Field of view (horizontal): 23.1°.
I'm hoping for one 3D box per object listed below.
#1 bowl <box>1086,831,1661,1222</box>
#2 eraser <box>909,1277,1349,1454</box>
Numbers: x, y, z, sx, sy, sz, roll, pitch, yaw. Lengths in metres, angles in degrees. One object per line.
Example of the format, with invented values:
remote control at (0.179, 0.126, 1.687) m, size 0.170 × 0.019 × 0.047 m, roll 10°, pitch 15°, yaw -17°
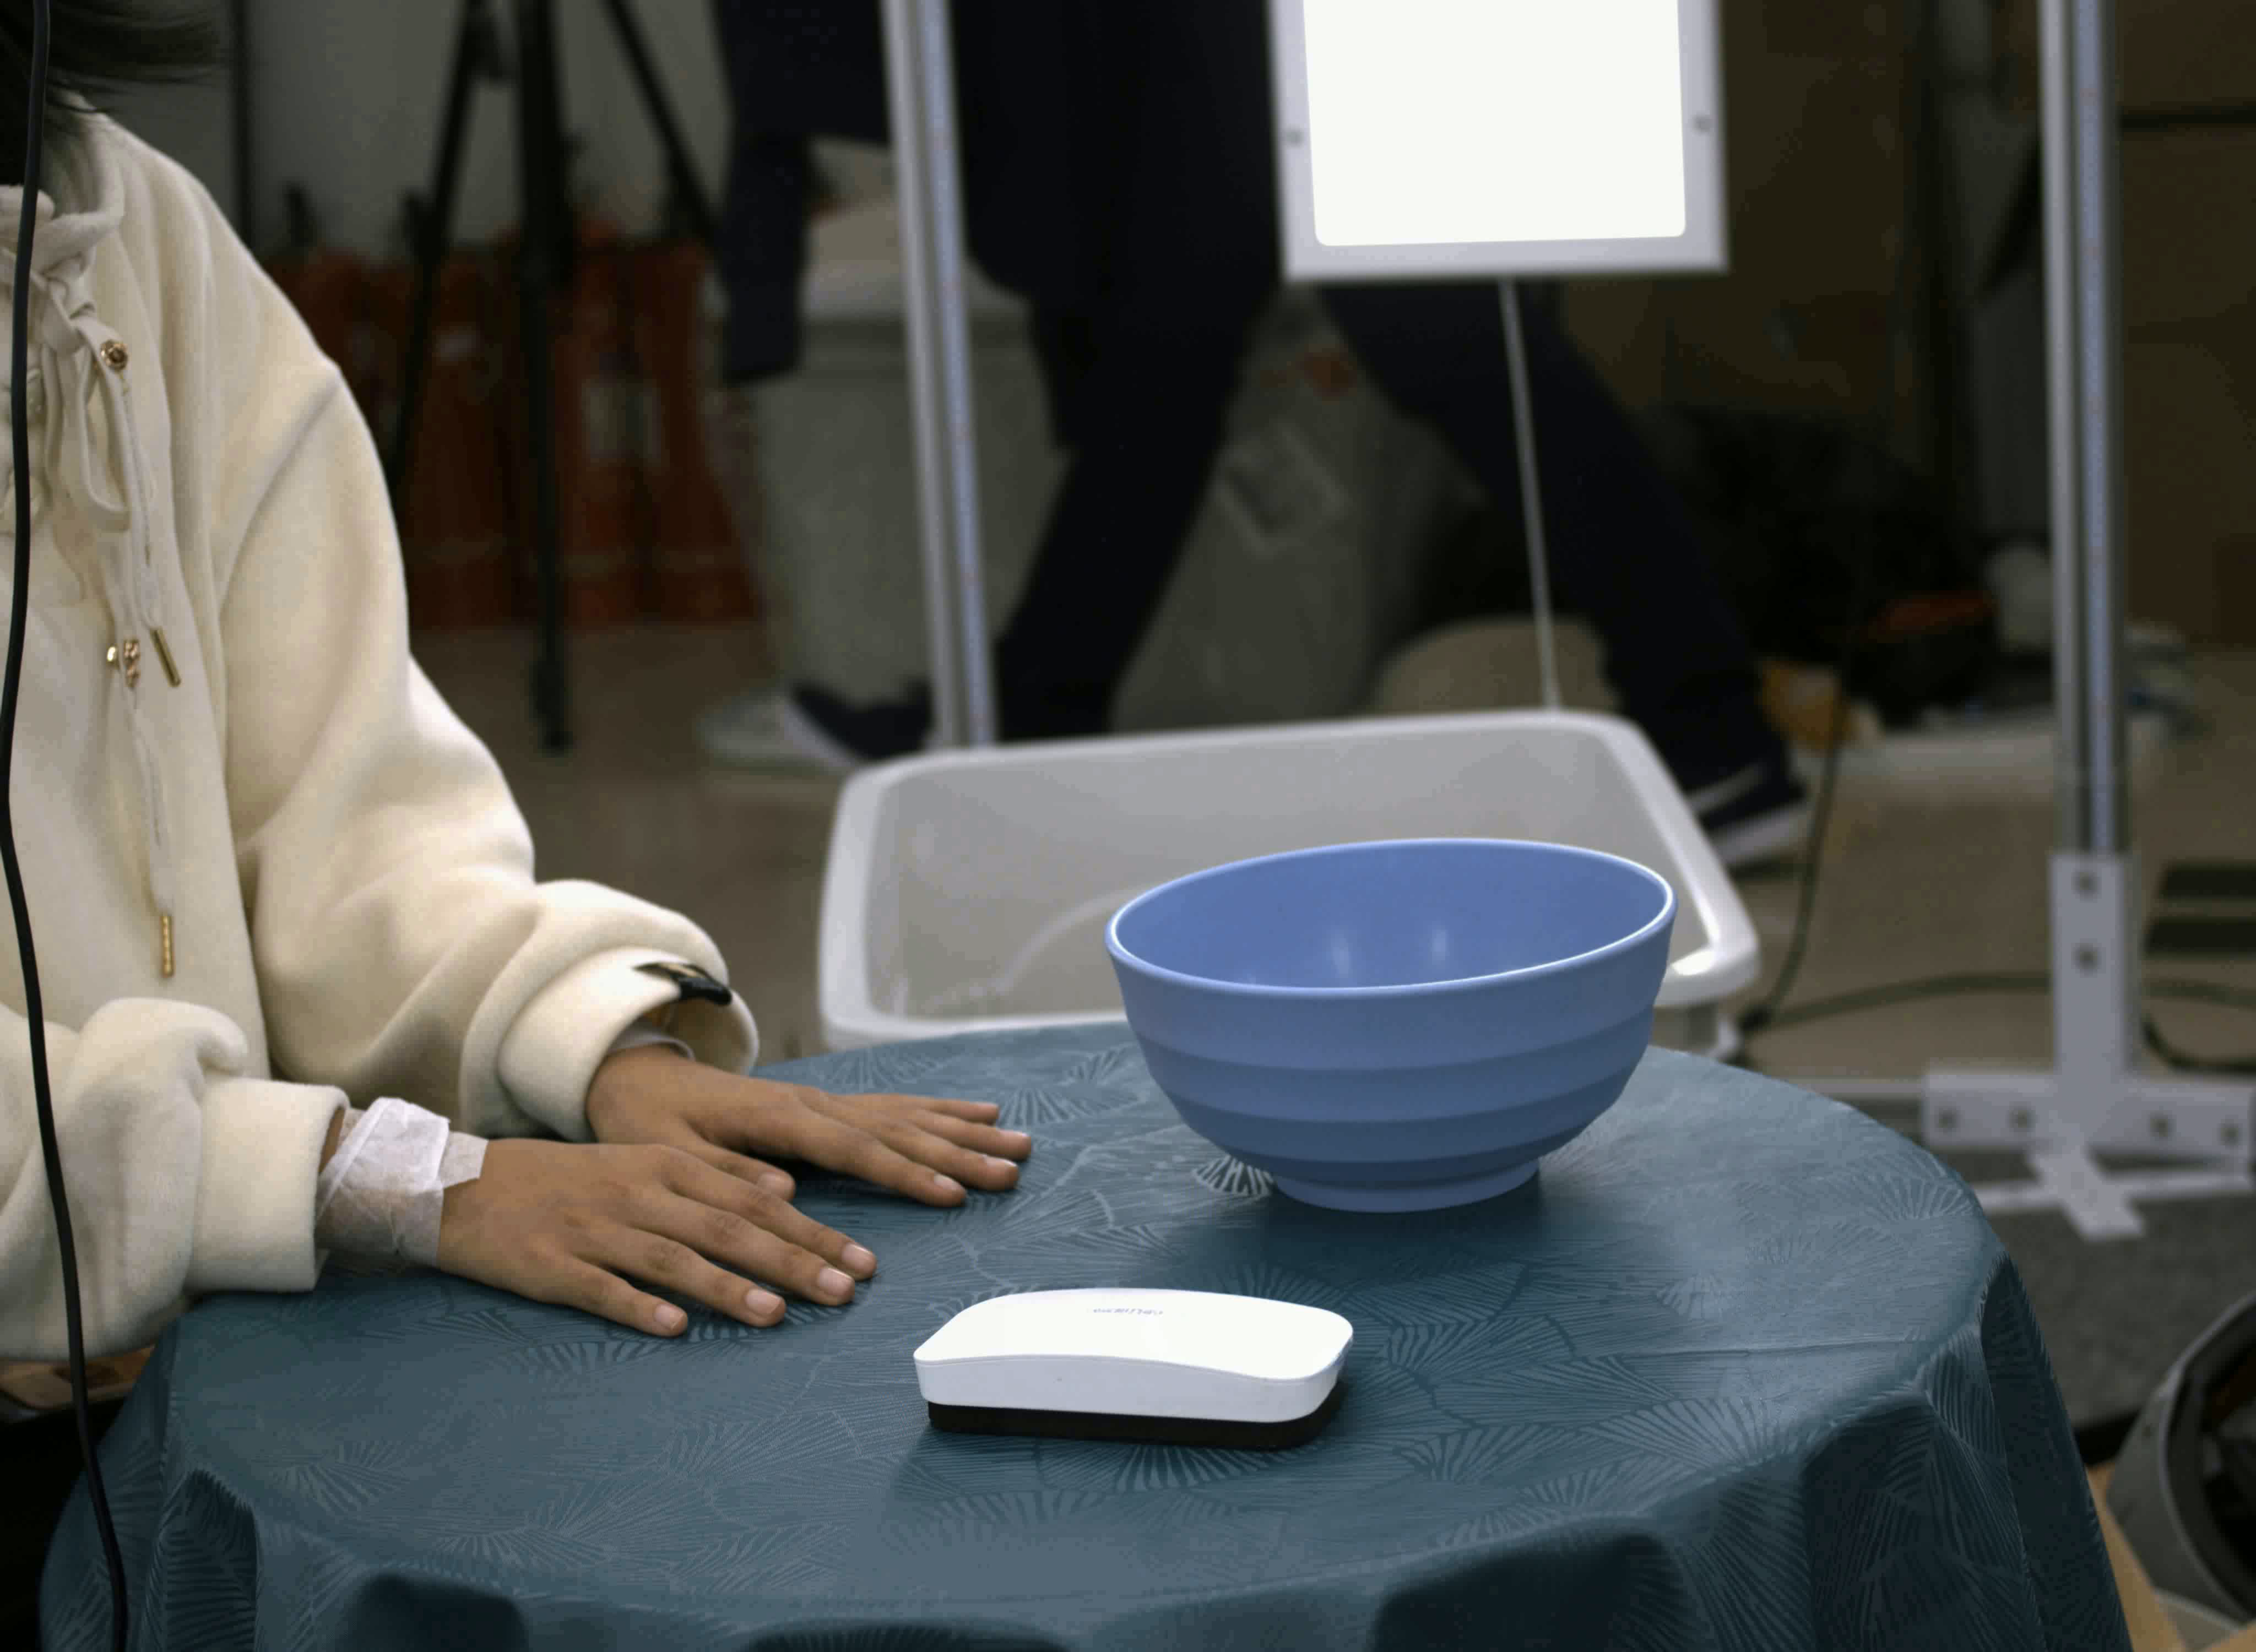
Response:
bowl at (0.085, 0.075, 1.884) m, size 0.196 × 0.096 × 0.196 m, roll -2°, pitch 18°, yaw -1°
eraser at (0.001, 0.164, 1.680) m, size 0.133 × 0.034 × 0.062 m, roll 2°, pitch 14°, yaw 23°
